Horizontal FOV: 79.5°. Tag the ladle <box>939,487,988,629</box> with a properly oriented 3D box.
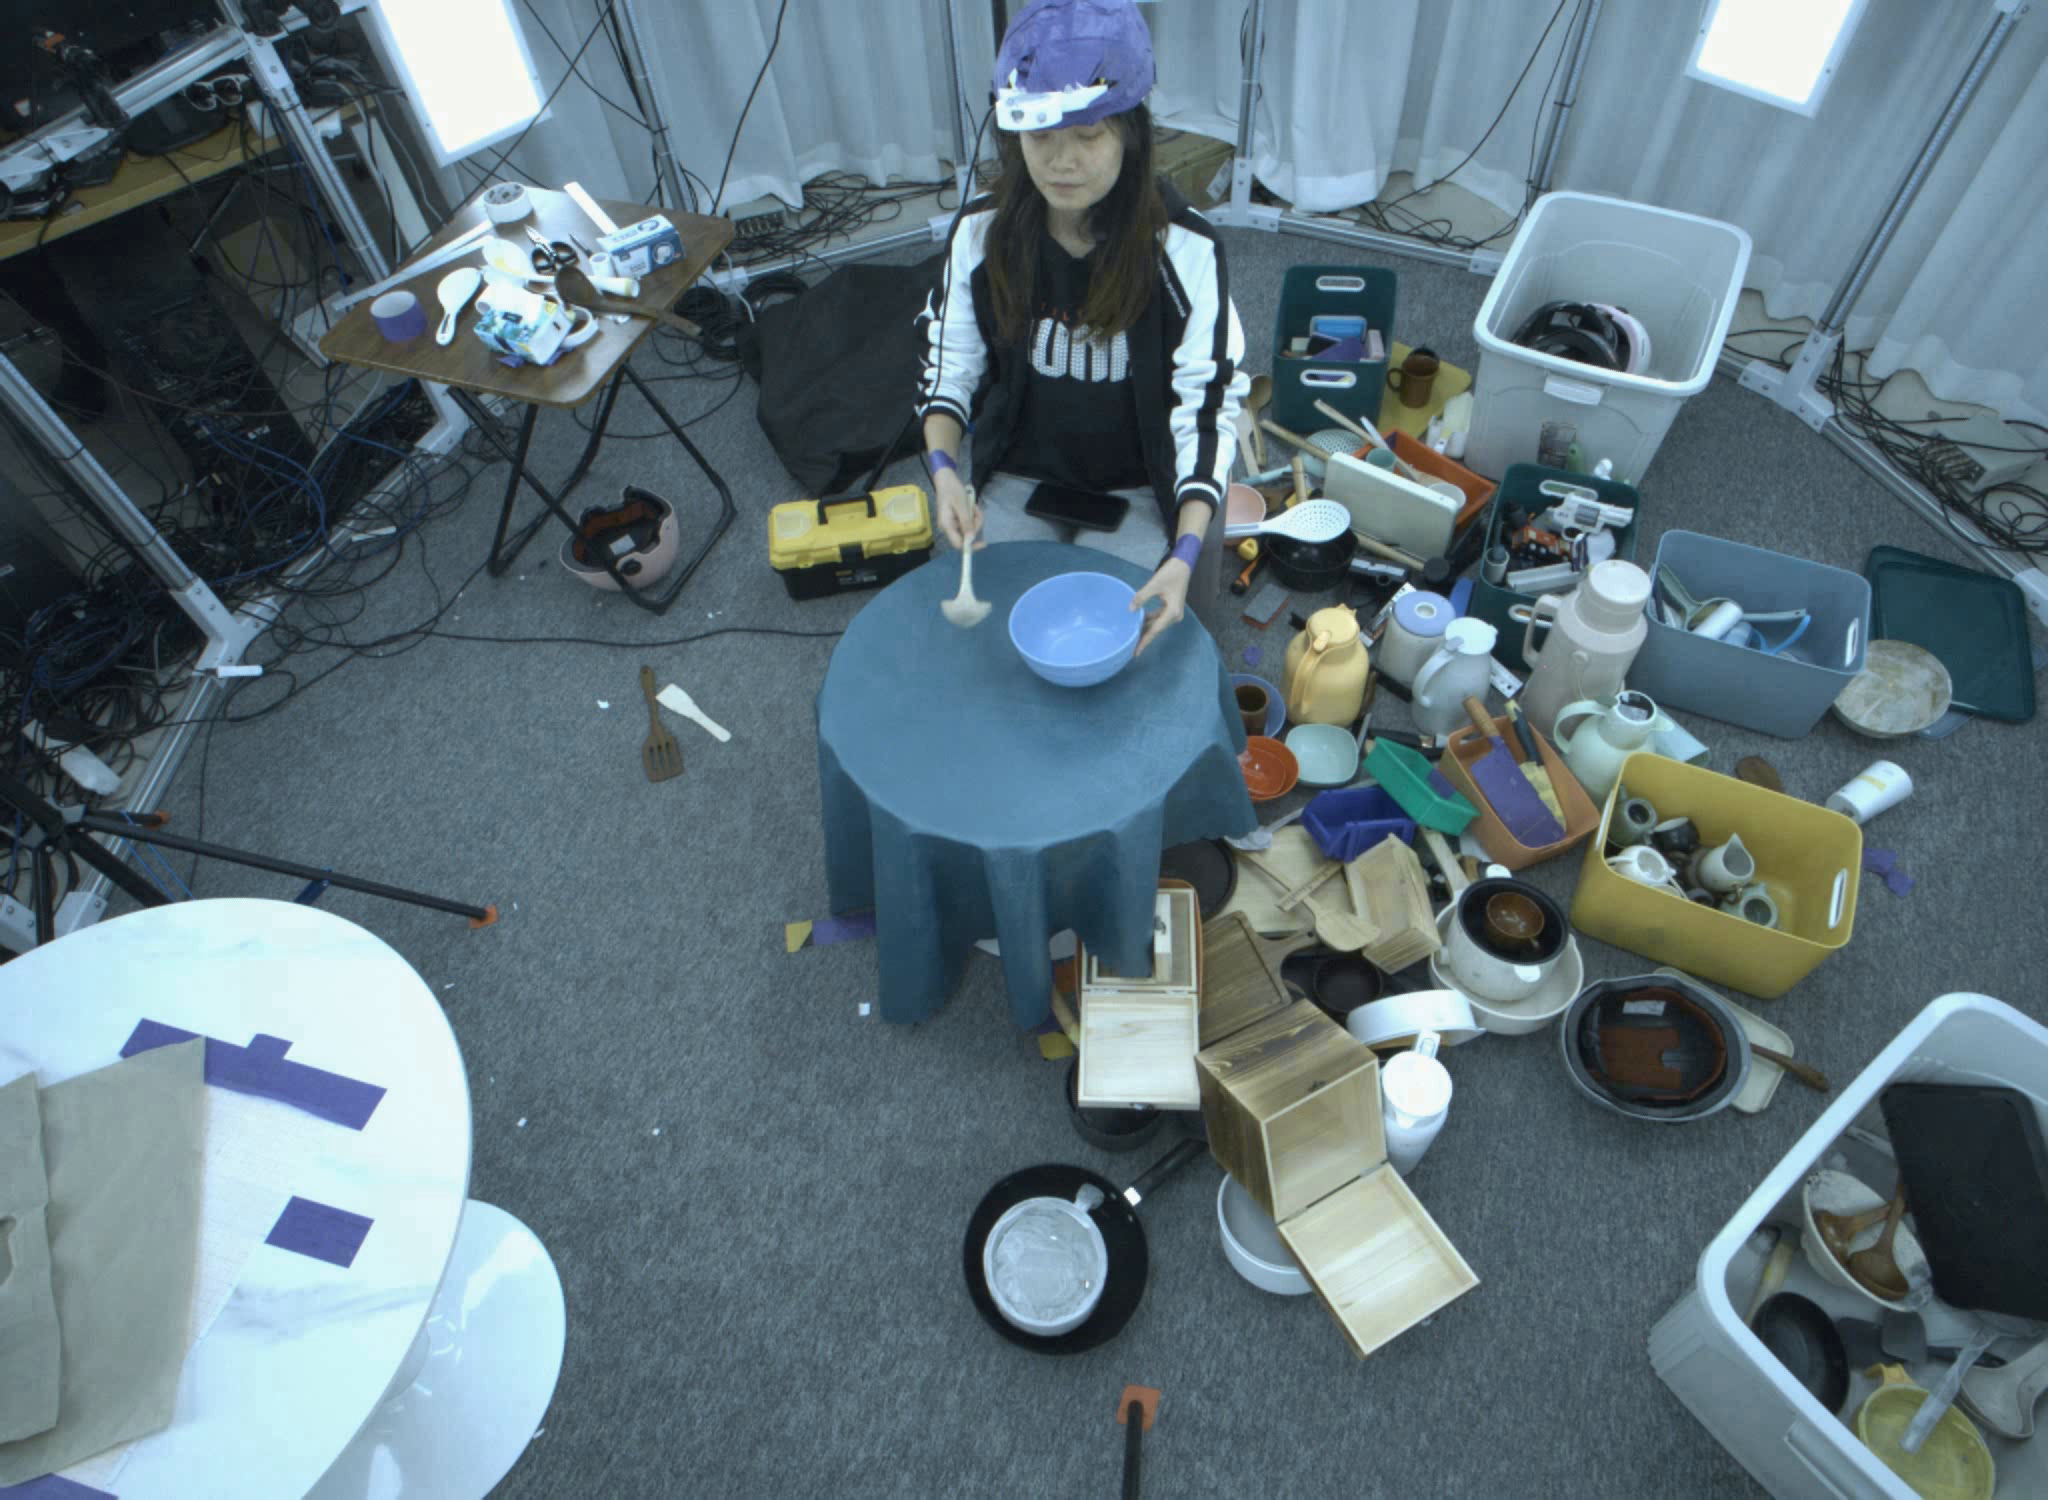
[{"bbox_3d":[-0.091,-0.302,1.821,0.072,0.073,0.252,0,71,-5],"label":"ladle"}]

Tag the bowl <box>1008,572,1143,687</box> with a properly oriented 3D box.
[{"bbox_3d":[0.081,-0.163,1.819,0.196,0.097,0.194,-4,51,6],"label":"bowl"}]
